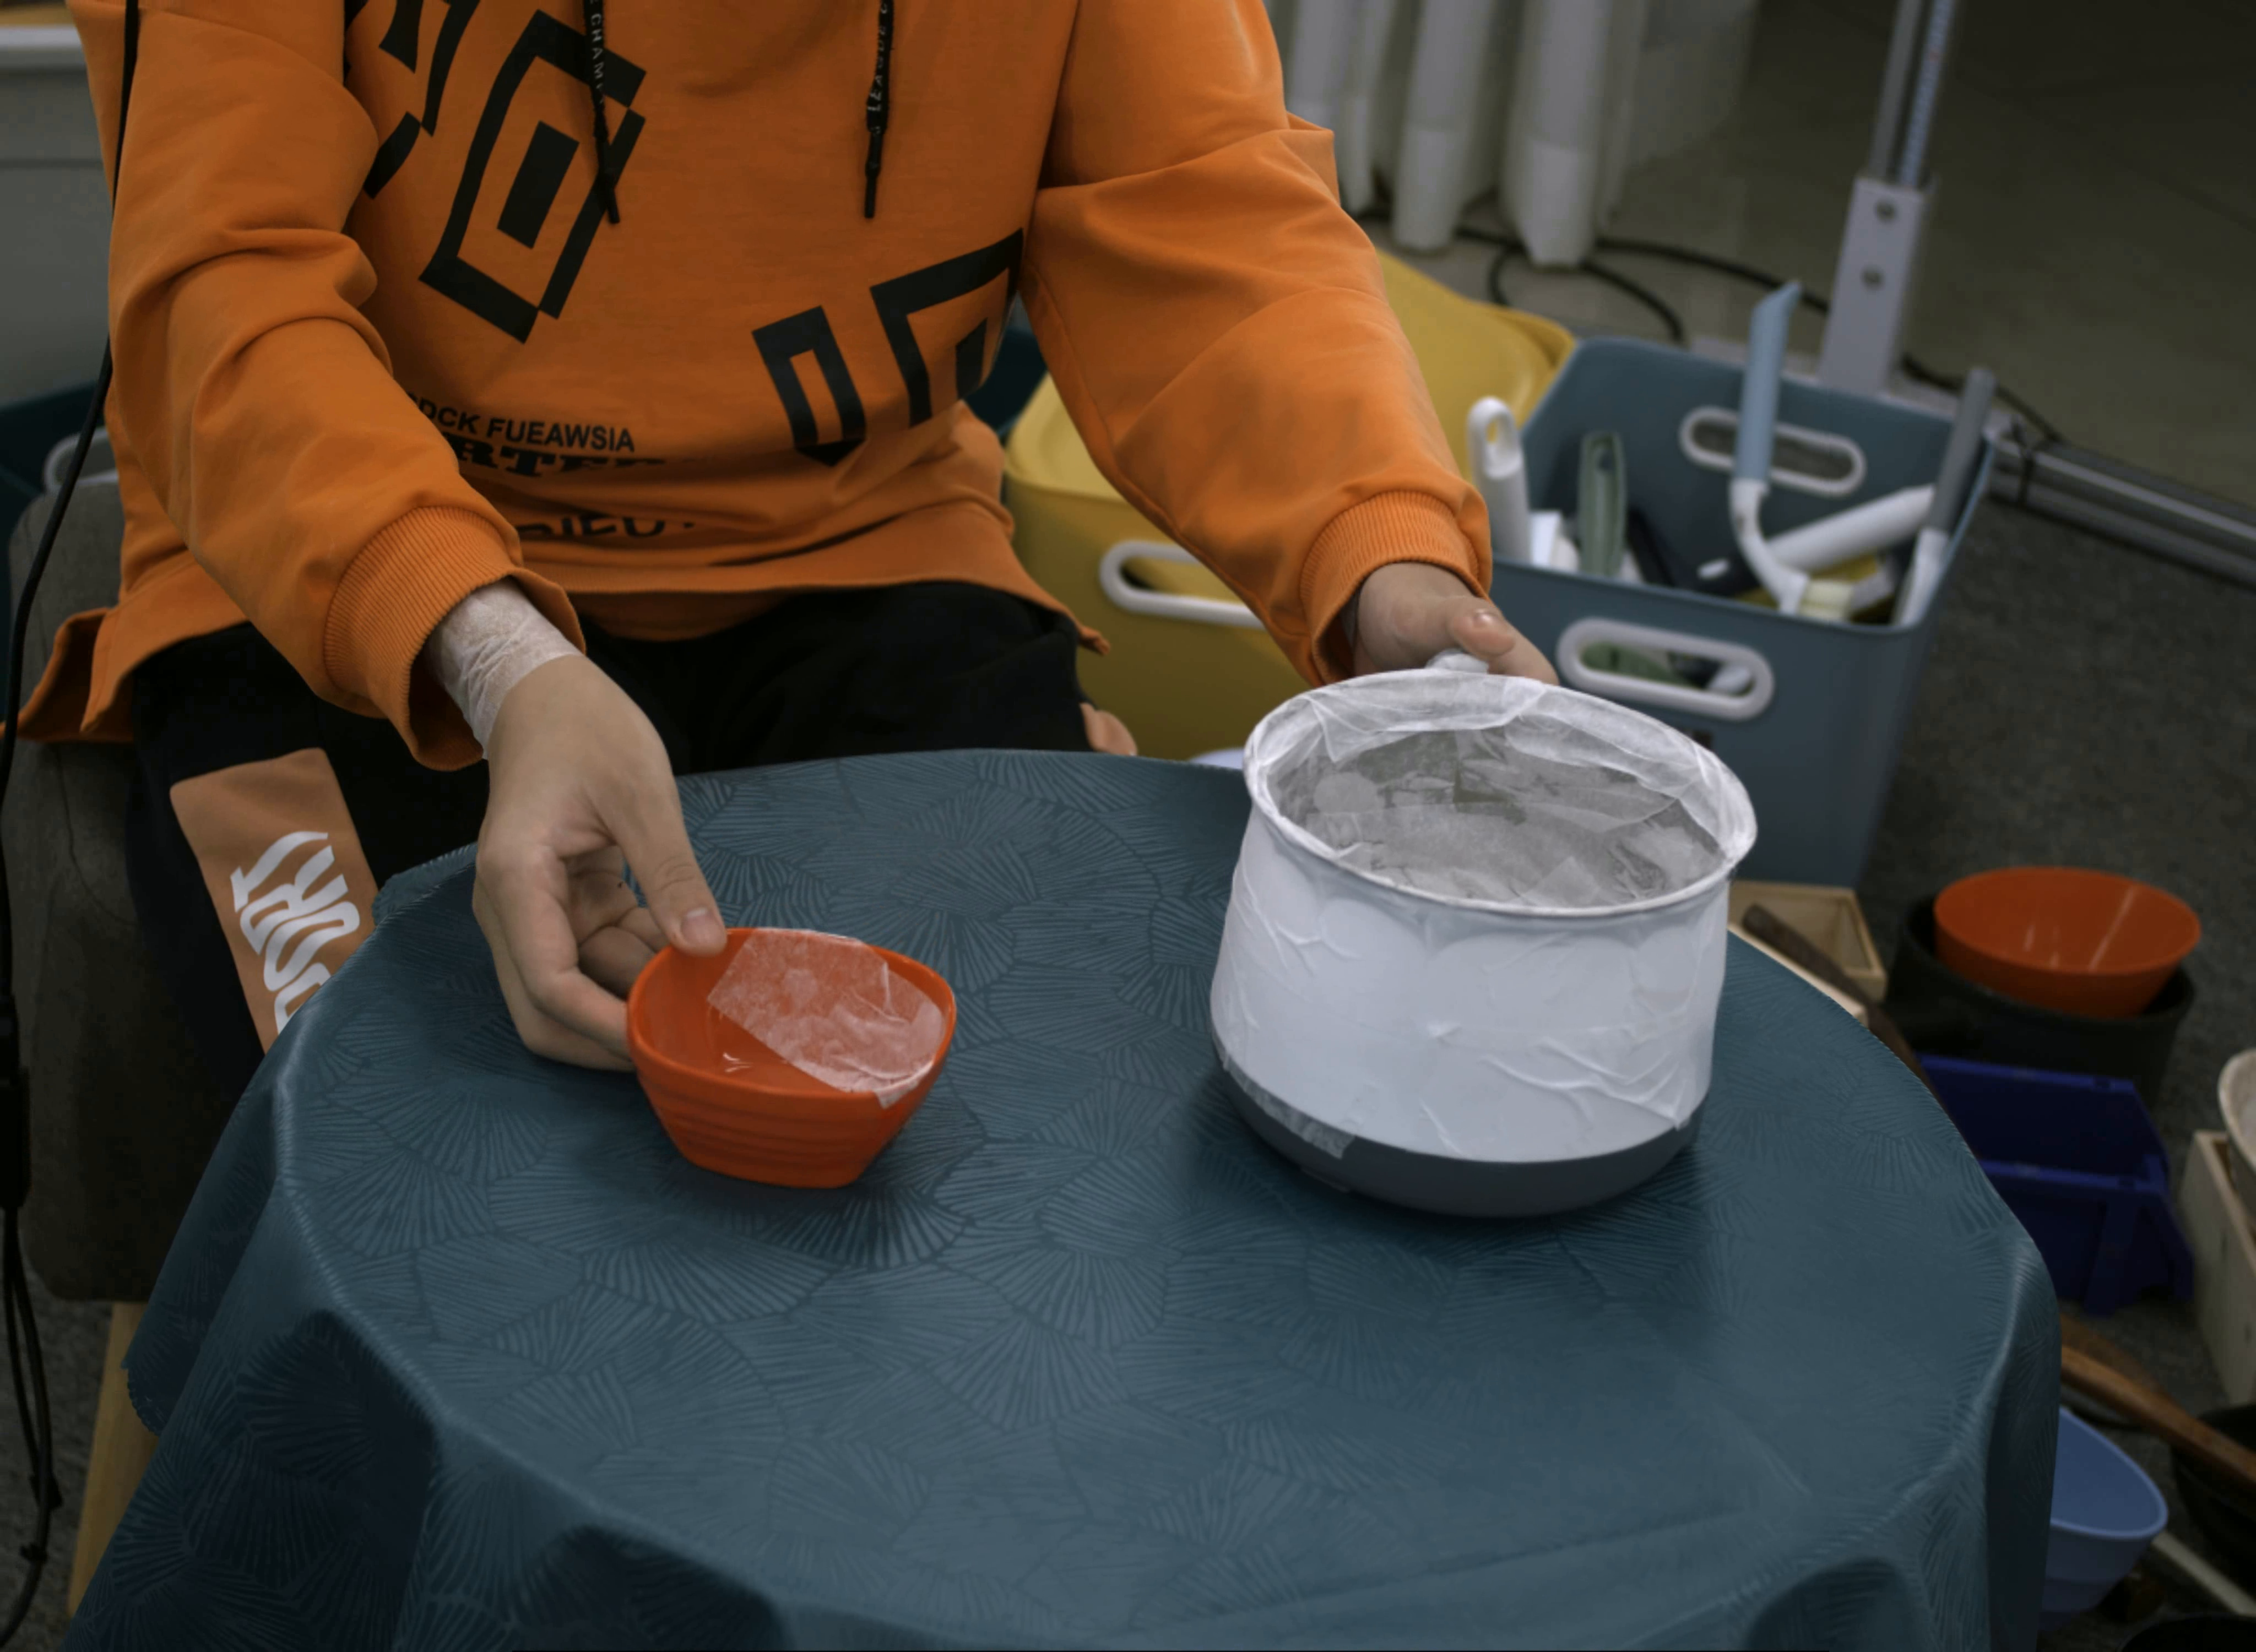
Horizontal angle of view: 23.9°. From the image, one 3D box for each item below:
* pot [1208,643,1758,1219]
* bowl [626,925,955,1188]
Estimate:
[{"bbox_3d":[0.116,0.029,1.862,0.178,0.136,0.235,3,28,-8],"label":"pot"},{"bbox_3d":[-0.115,0.082,1.801,0.118,0.051,0.119,4,28,-3],"label":"bowl"}]
